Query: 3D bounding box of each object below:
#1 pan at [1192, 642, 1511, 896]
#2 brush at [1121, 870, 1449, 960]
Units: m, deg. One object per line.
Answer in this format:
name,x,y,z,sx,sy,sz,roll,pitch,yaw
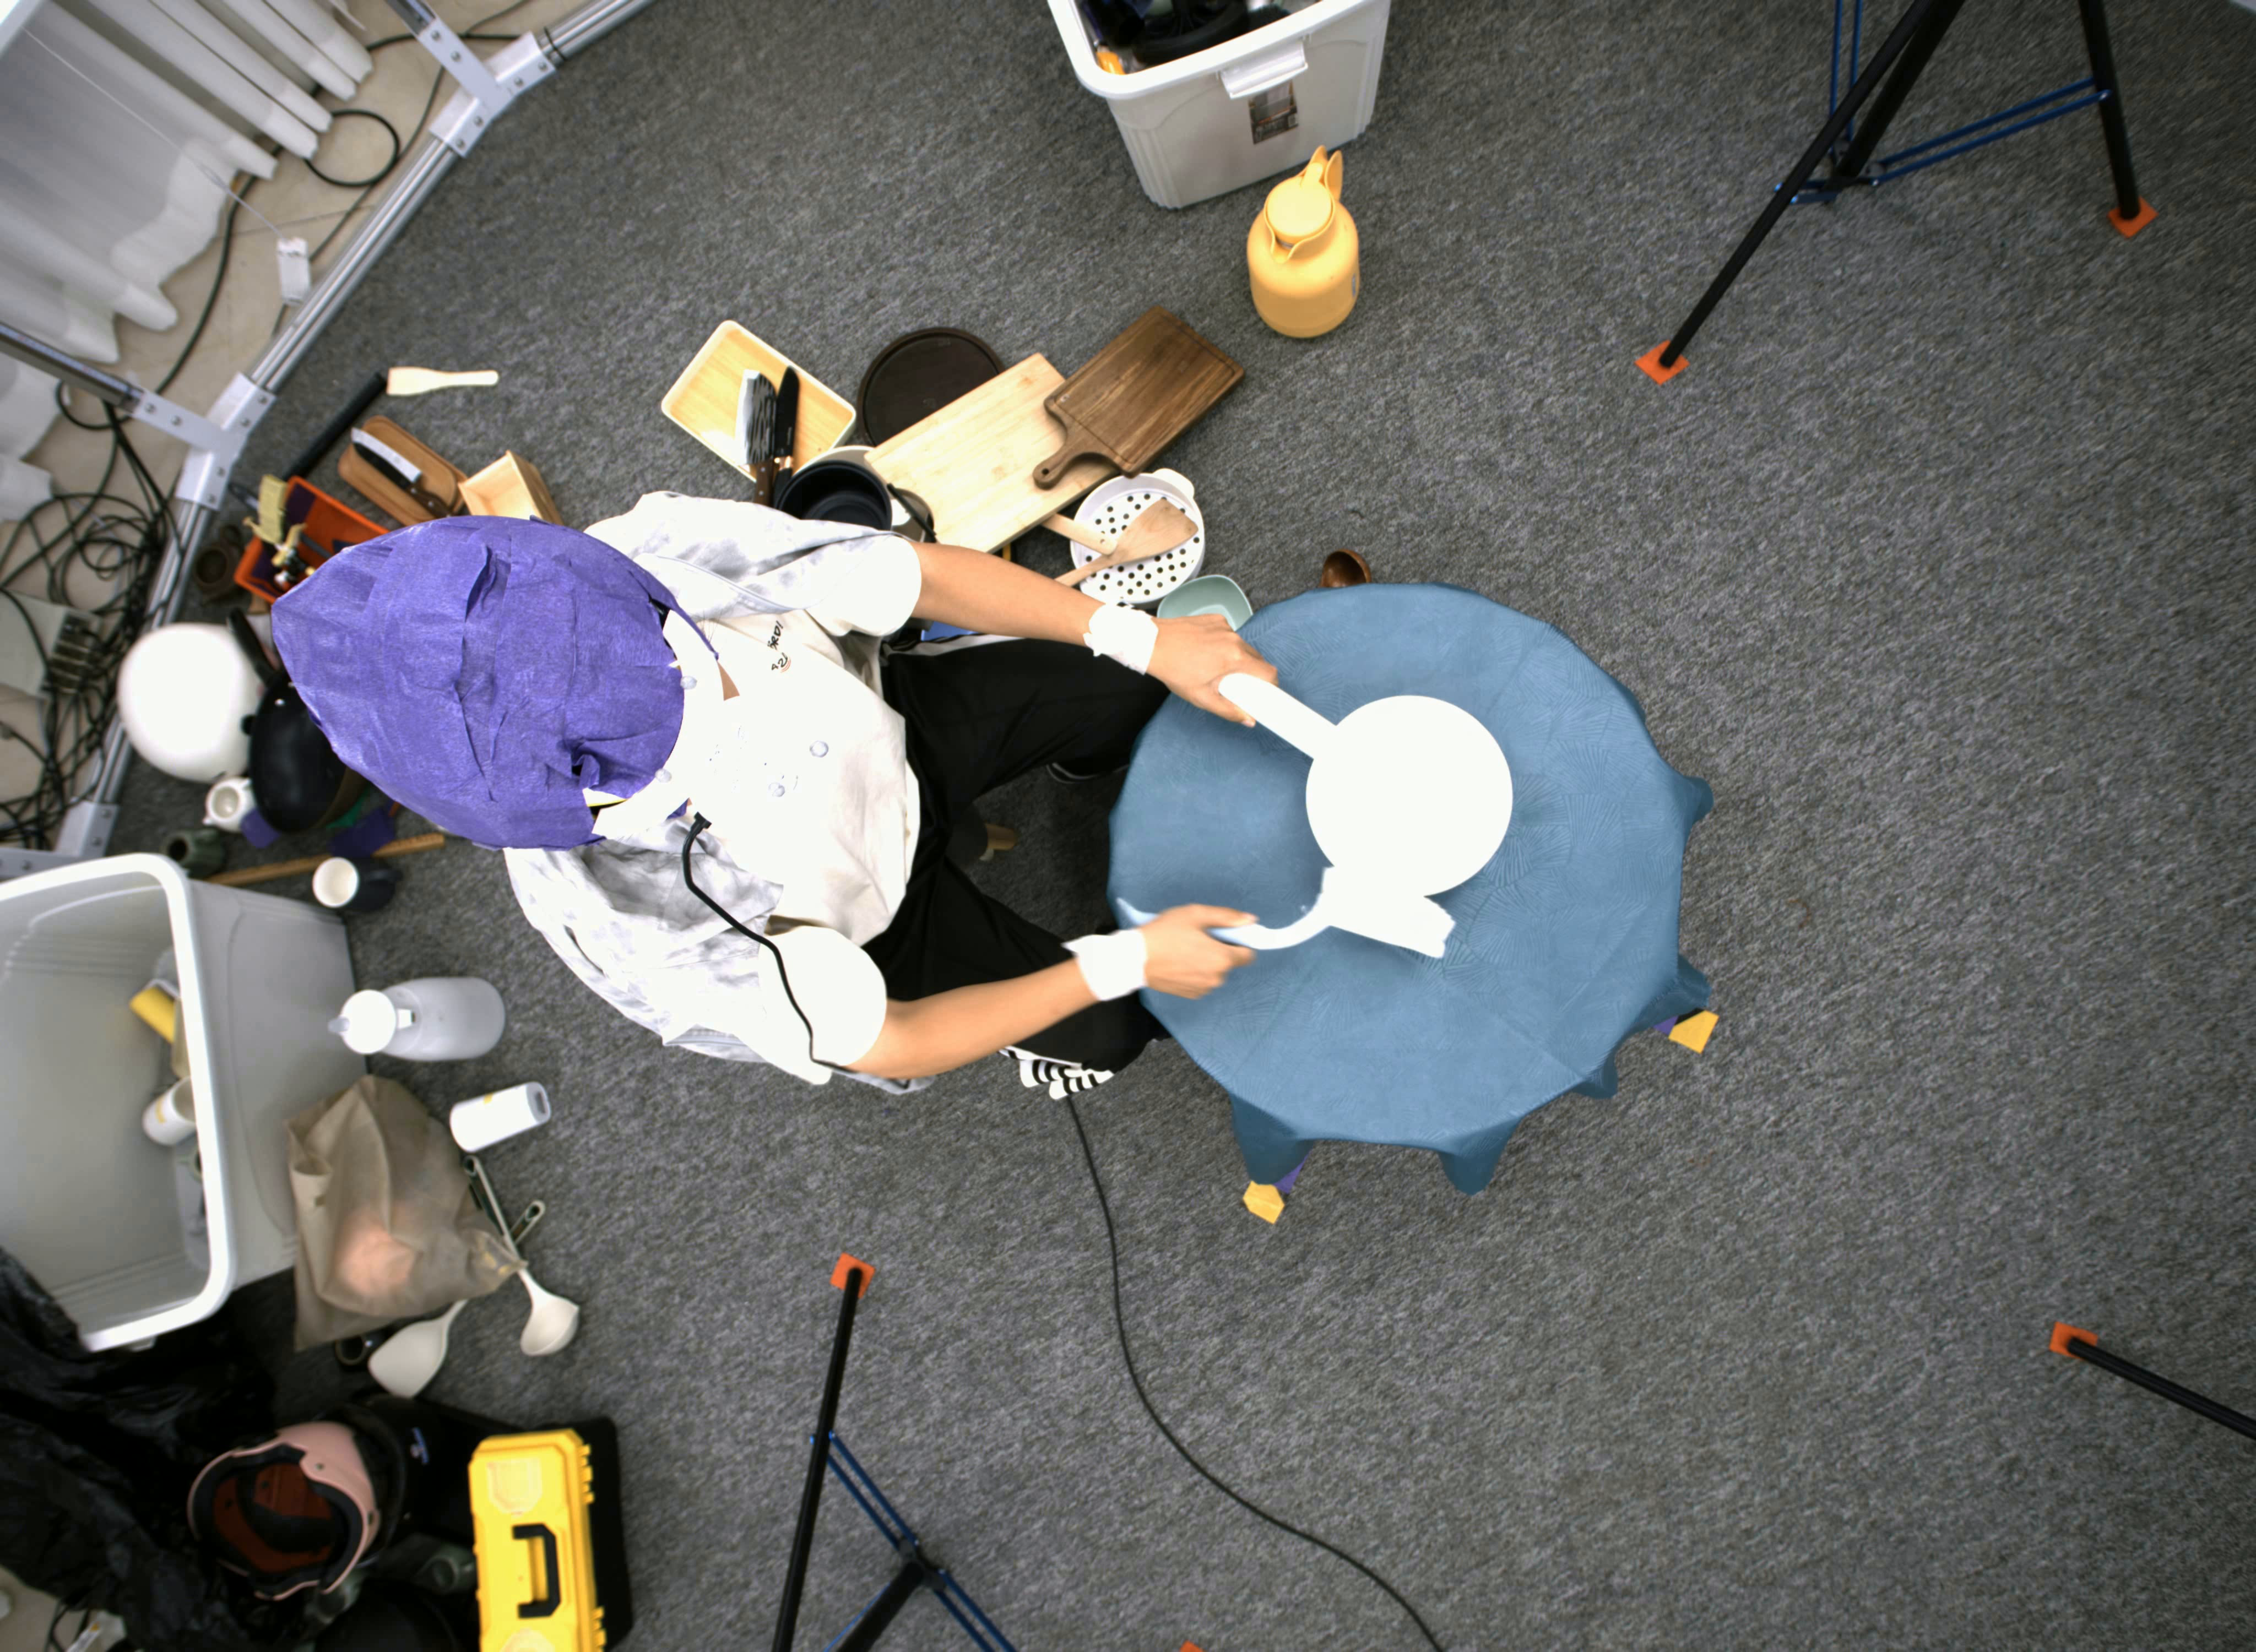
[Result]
pan,0.223,-0.070,1.424,0.354,0.102,0.202,35,93,11
brush,0.157,0.076,1.387,0.326,0.082,0.085,5,122,7
